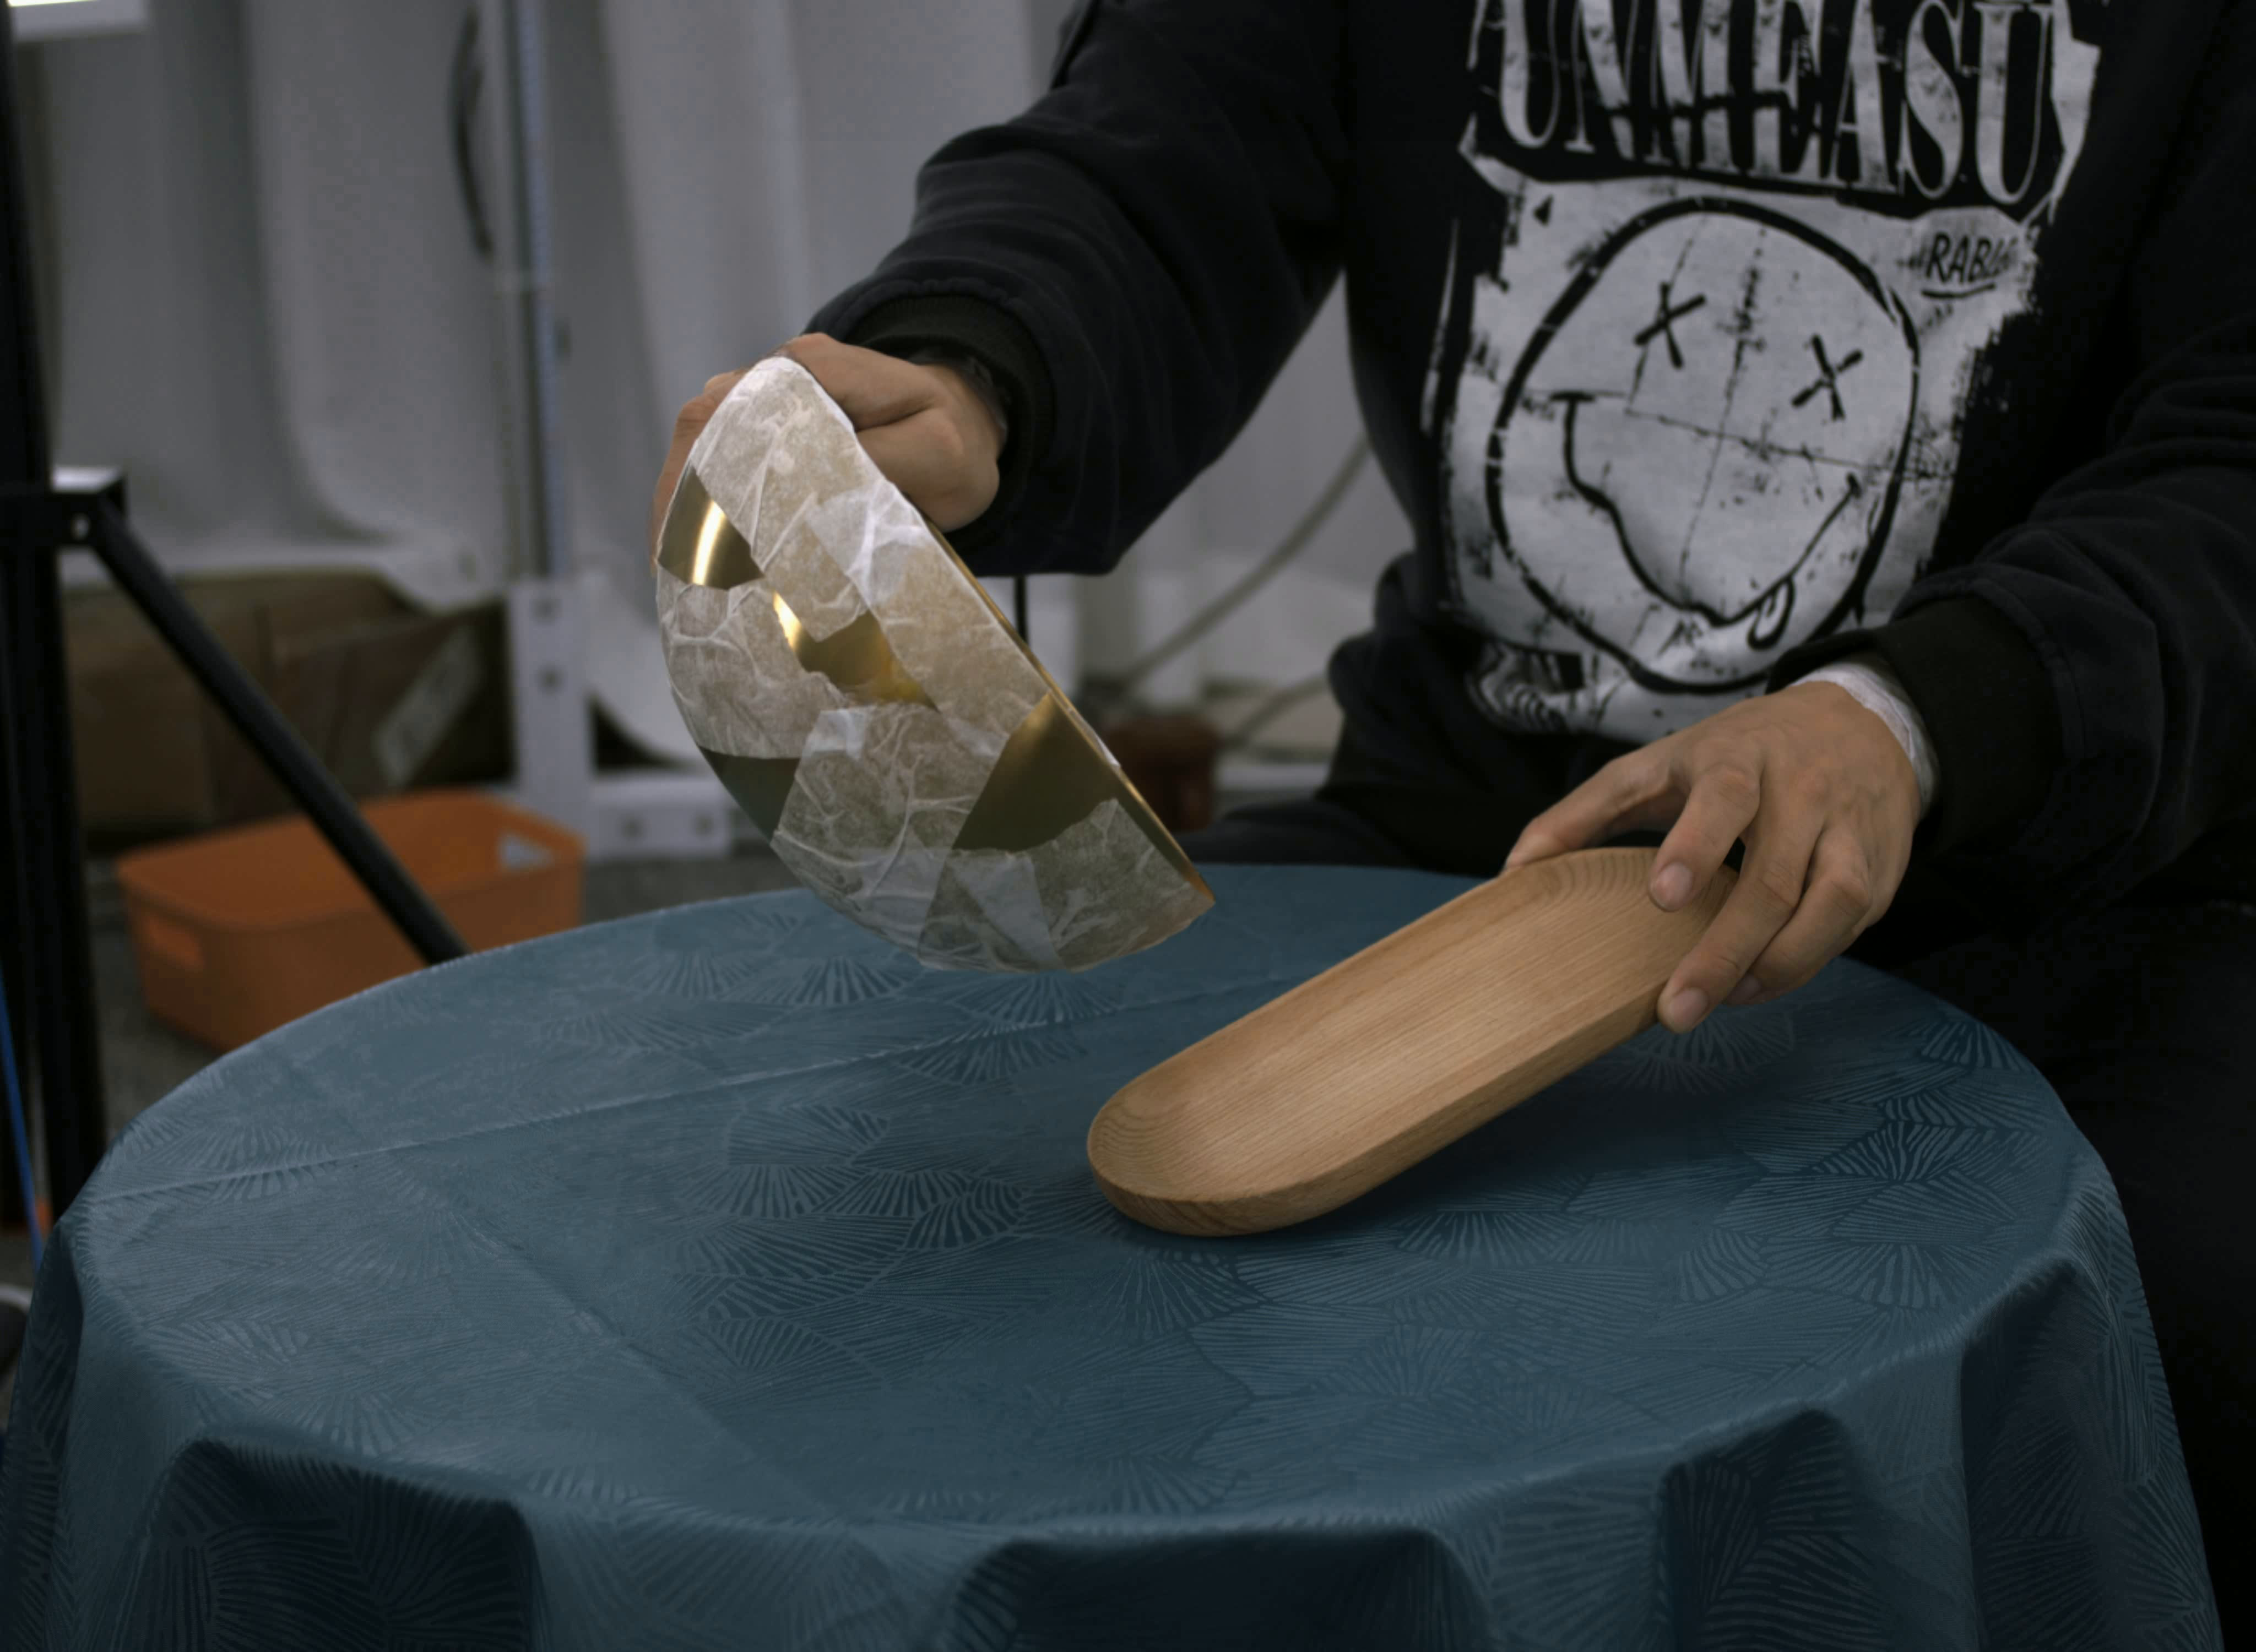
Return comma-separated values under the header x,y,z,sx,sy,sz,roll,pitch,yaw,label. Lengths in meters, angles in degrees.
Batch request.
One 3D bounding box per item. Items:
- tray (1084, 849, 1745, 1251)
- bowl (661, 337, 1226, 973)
x,y,z,sx,sy,sz,roll,pitch,yaw,label
0.088,0.065,1.576,0.227,0.020,0.104,-31,27,-27,tray
-0.066,-0.029,1.513,0.094,0.212,0.217,-38,19,0,bowl
